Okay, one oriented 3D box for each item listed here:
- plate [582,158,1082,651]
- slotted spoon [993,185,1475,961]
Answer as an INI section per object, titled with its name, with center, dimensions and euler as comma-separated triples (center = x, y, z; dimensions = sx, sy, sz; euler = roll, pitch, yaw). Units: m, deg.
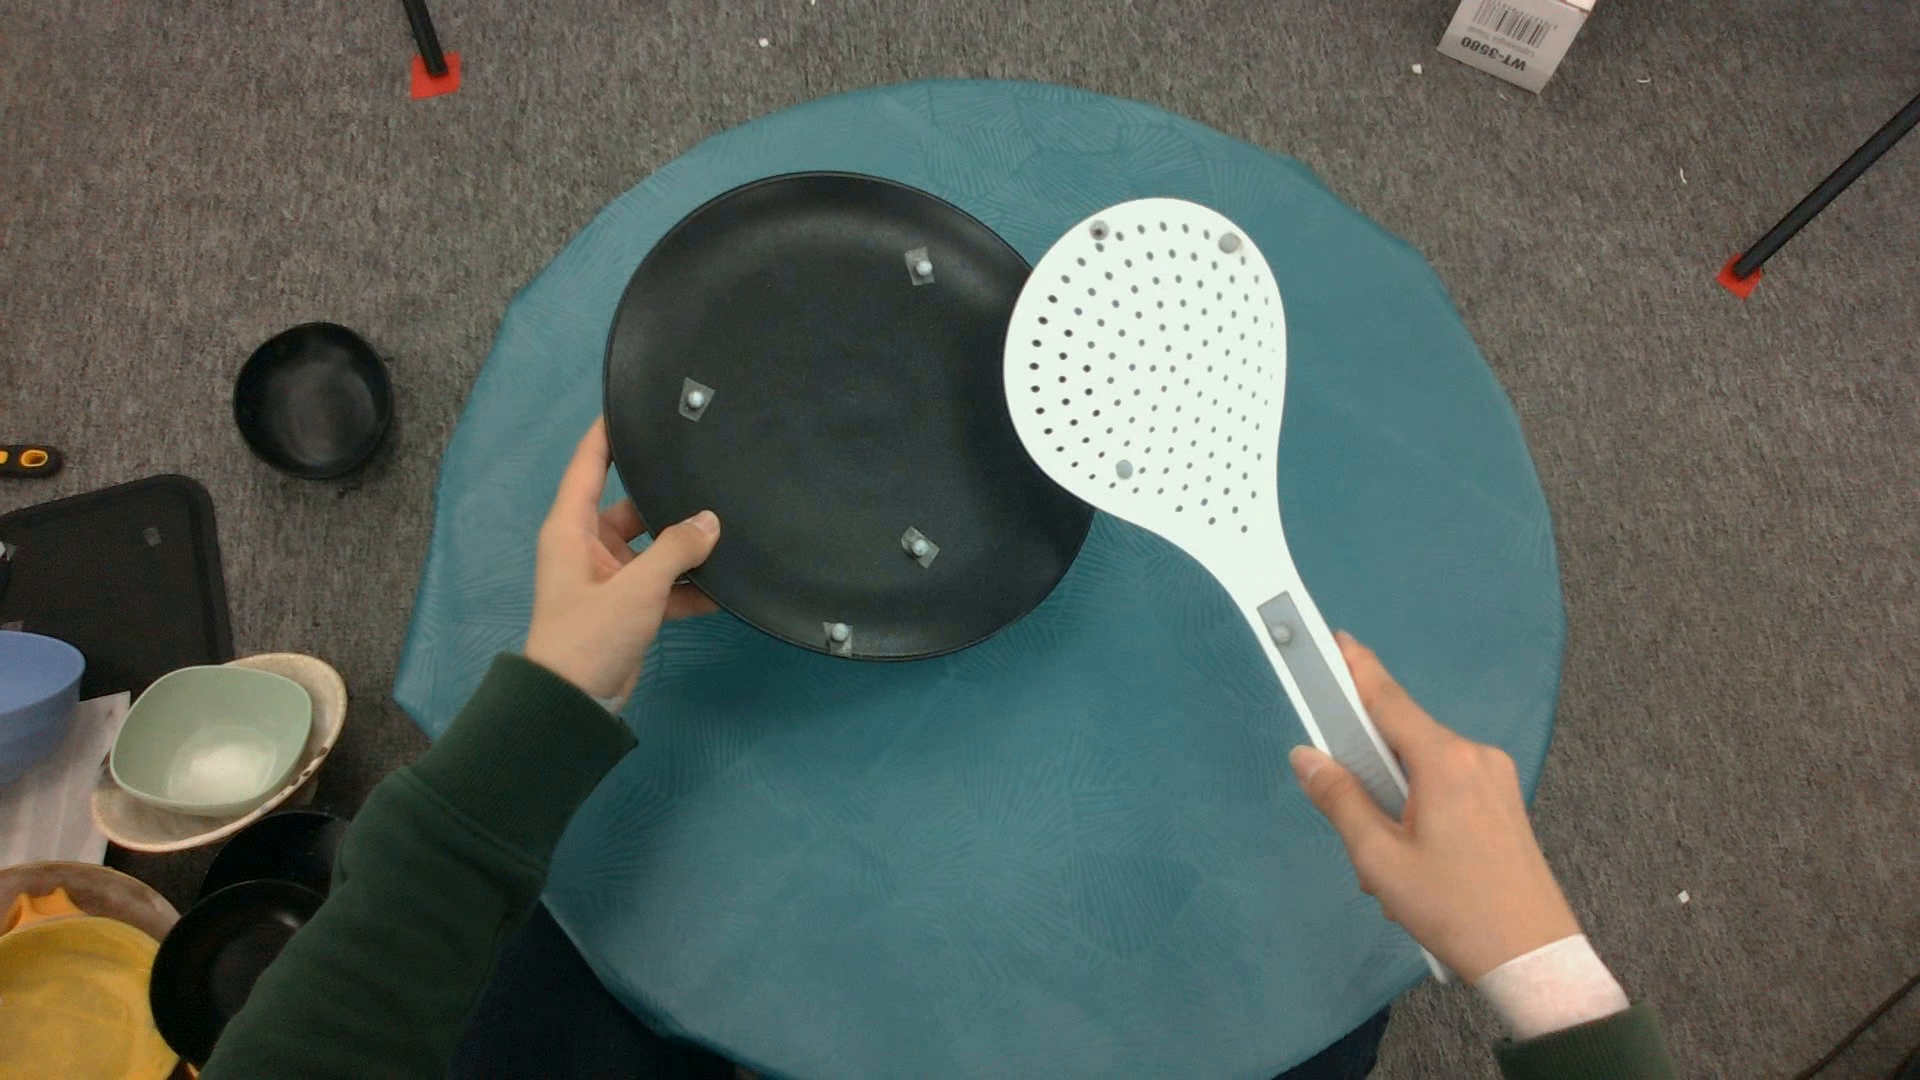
[plate]
center = -0.054, -0.066, 0.648
dimensions = 0.245, 0.023, 0.245
euler = 7, 72, -21
[slotted spoon]
center = 0.118, 0.005, 0.578
dimensions = 0.135, 0.046, 0.350
euler = -35, 64, 27
